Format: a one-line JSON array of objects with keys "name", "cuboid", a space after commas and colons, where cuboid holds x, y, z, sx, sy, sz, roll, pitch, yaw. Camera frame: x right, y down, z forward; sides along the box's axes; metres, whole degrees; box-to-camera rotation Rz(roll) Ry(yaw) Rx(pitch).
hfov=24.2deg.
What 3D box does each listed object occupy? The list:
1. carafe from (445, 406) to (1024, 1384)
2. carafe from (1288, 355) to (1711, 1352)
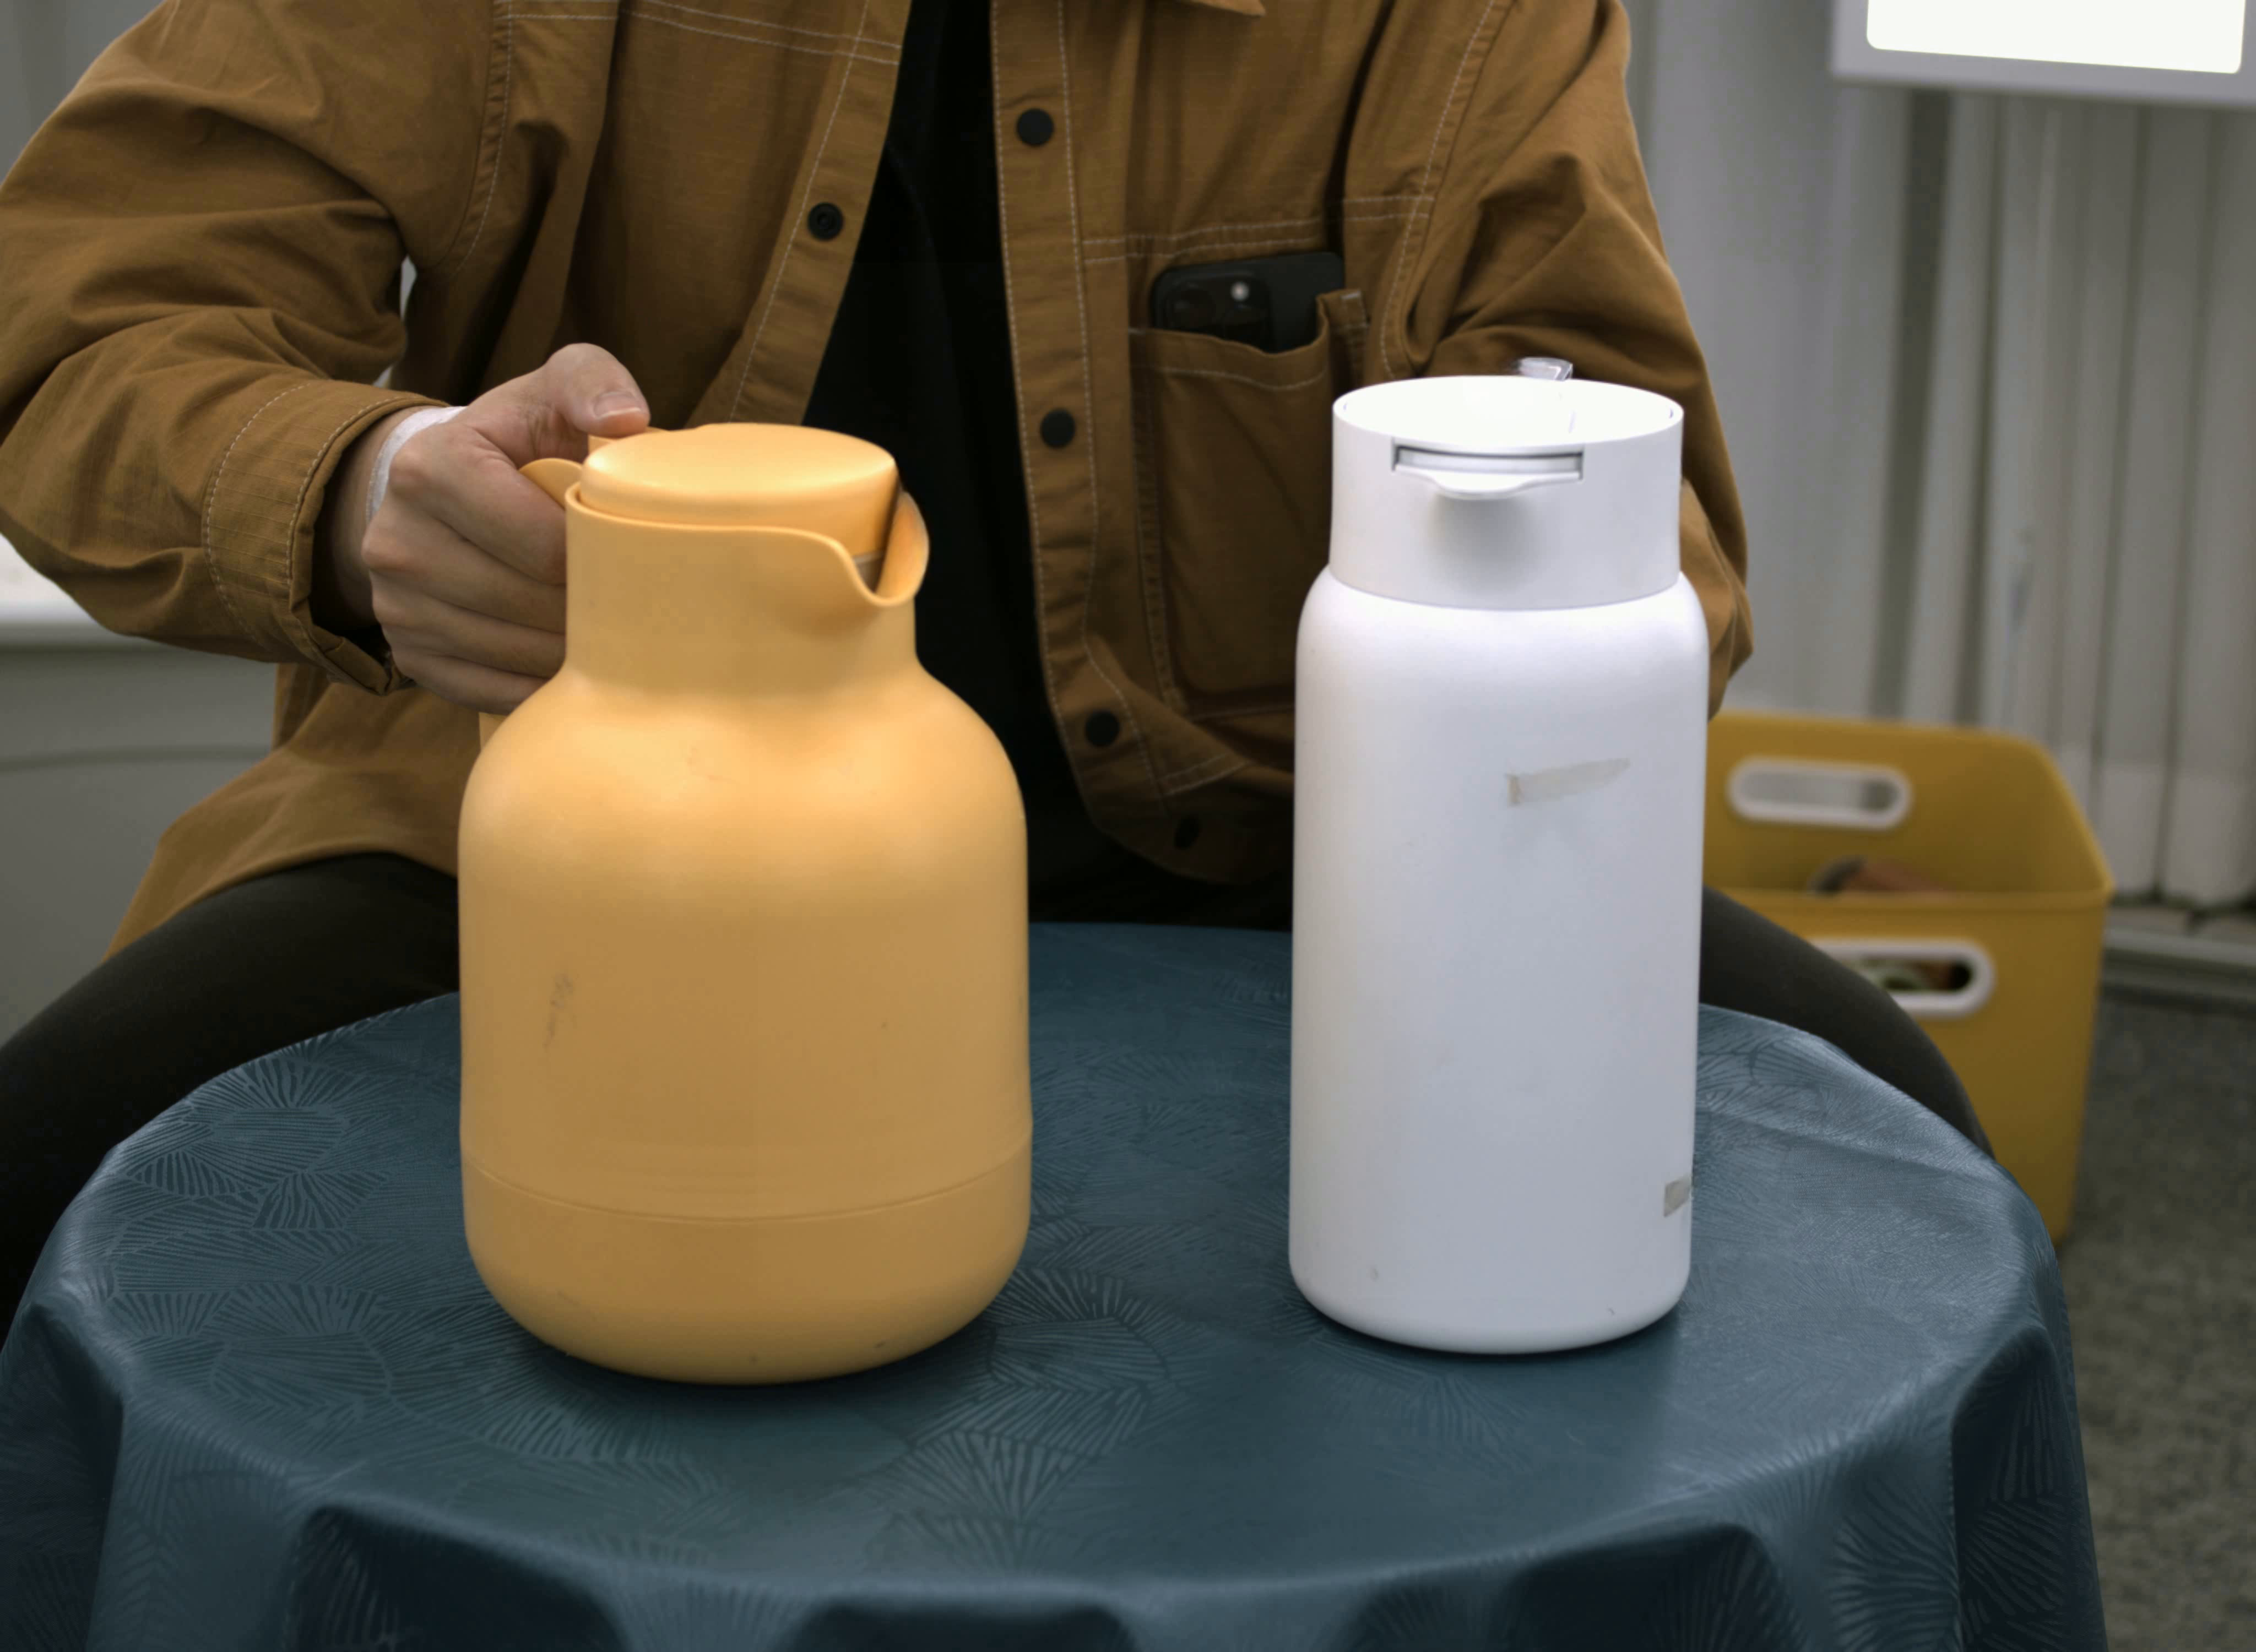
[{"name": "carafe", "cuboid": [-0.119, 0.011, 1.492, 0.164, 0.262, 0.199, -8, 19, -35]}, {"name": "carafe", "cuboid": [0.107, 0.003, 1.517, 0.123, 0.271, 0.172, 1, 16, 11]}]
